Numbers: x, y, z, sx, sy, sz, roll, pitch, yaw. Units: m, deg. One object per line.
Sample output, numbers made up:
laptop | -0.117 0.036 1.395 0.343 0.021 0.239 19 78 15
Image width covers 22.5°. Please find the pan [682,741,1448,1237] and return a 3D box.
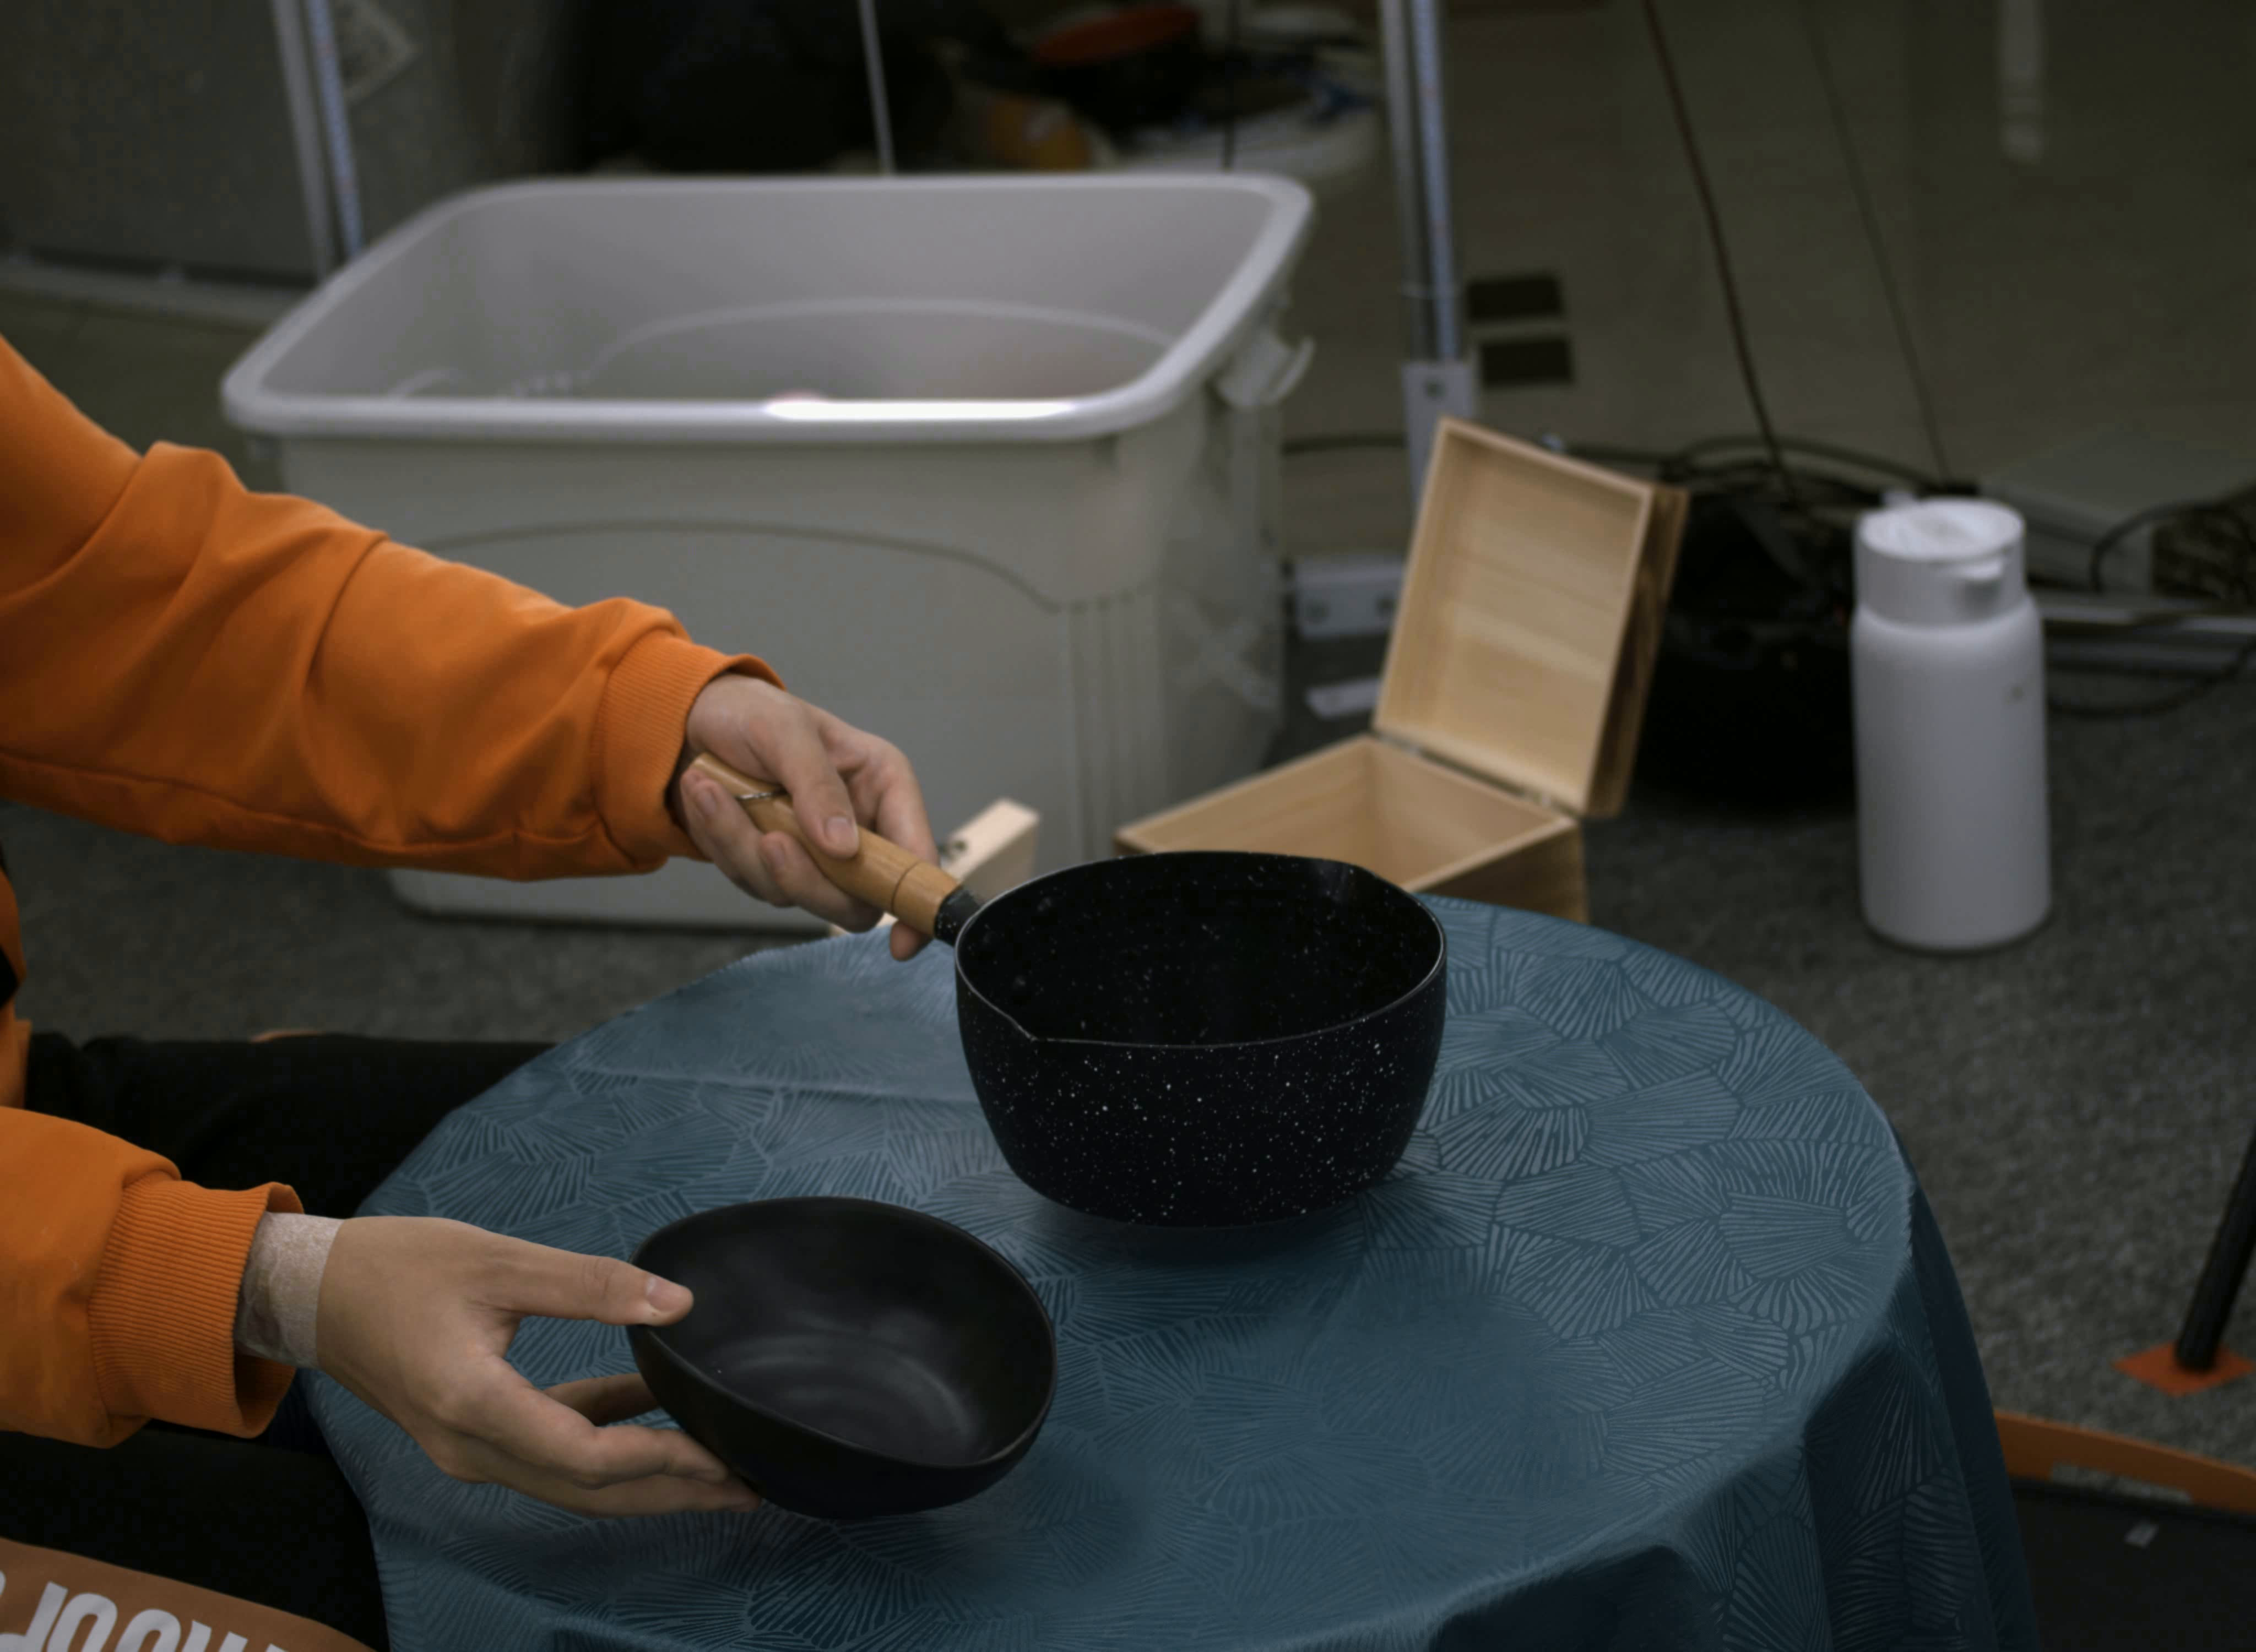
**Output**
pan | -0.037 0.055 2.161 0.340 0.110 0.205 16 29 33

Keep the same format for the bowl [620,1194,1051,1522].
bowl | -0.101 0.191 1.944 0.136 0.068 0.168 -19 38 -40
